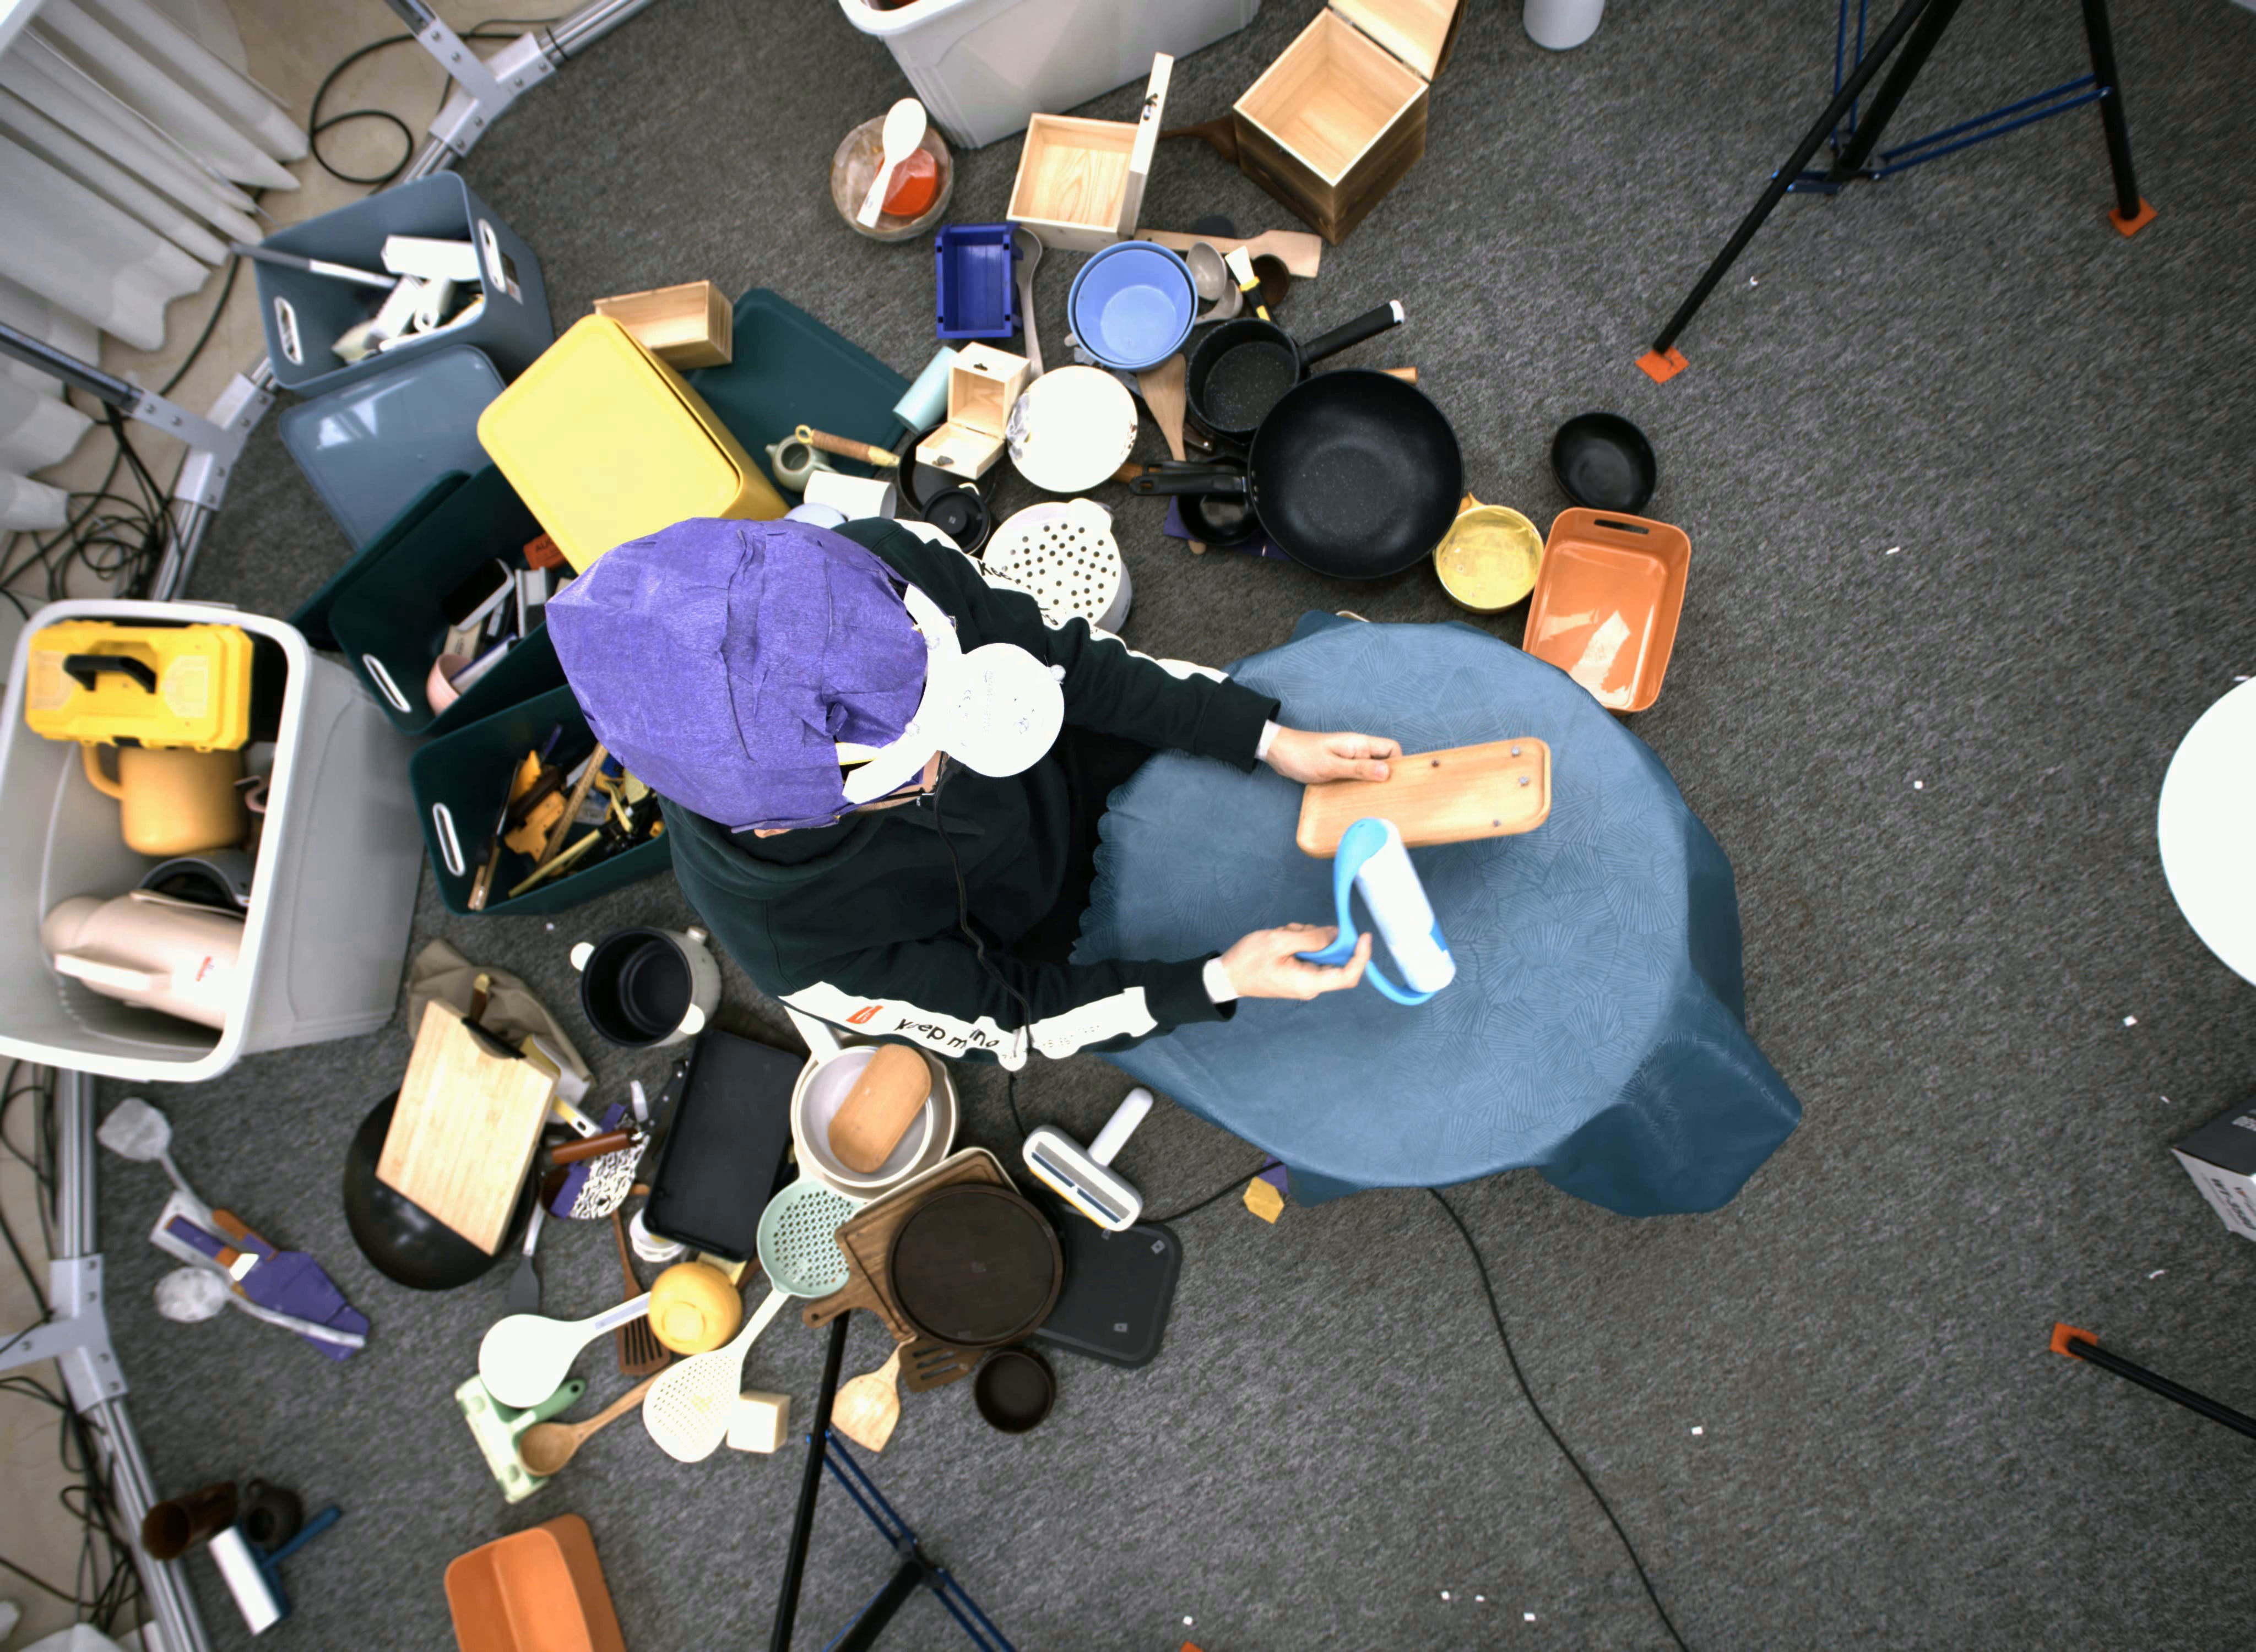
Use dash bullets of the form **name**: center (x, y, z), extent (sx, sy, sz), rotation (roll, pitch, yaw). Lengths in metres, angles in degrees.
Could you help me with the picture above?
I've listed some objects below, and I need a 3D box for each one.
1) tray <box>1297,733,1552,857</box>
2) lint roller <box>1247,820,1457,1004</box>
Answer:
- **tray**: center (0.291, -0.030, 1.354), extent (0.253, 0.127, 0.023), rotation (-9, 130, 26)
- **lint roller**: center (0.201, 0.101, 1.308), extent (0.182, 0.232, 0.066), rotation (-24, 40, 16)
